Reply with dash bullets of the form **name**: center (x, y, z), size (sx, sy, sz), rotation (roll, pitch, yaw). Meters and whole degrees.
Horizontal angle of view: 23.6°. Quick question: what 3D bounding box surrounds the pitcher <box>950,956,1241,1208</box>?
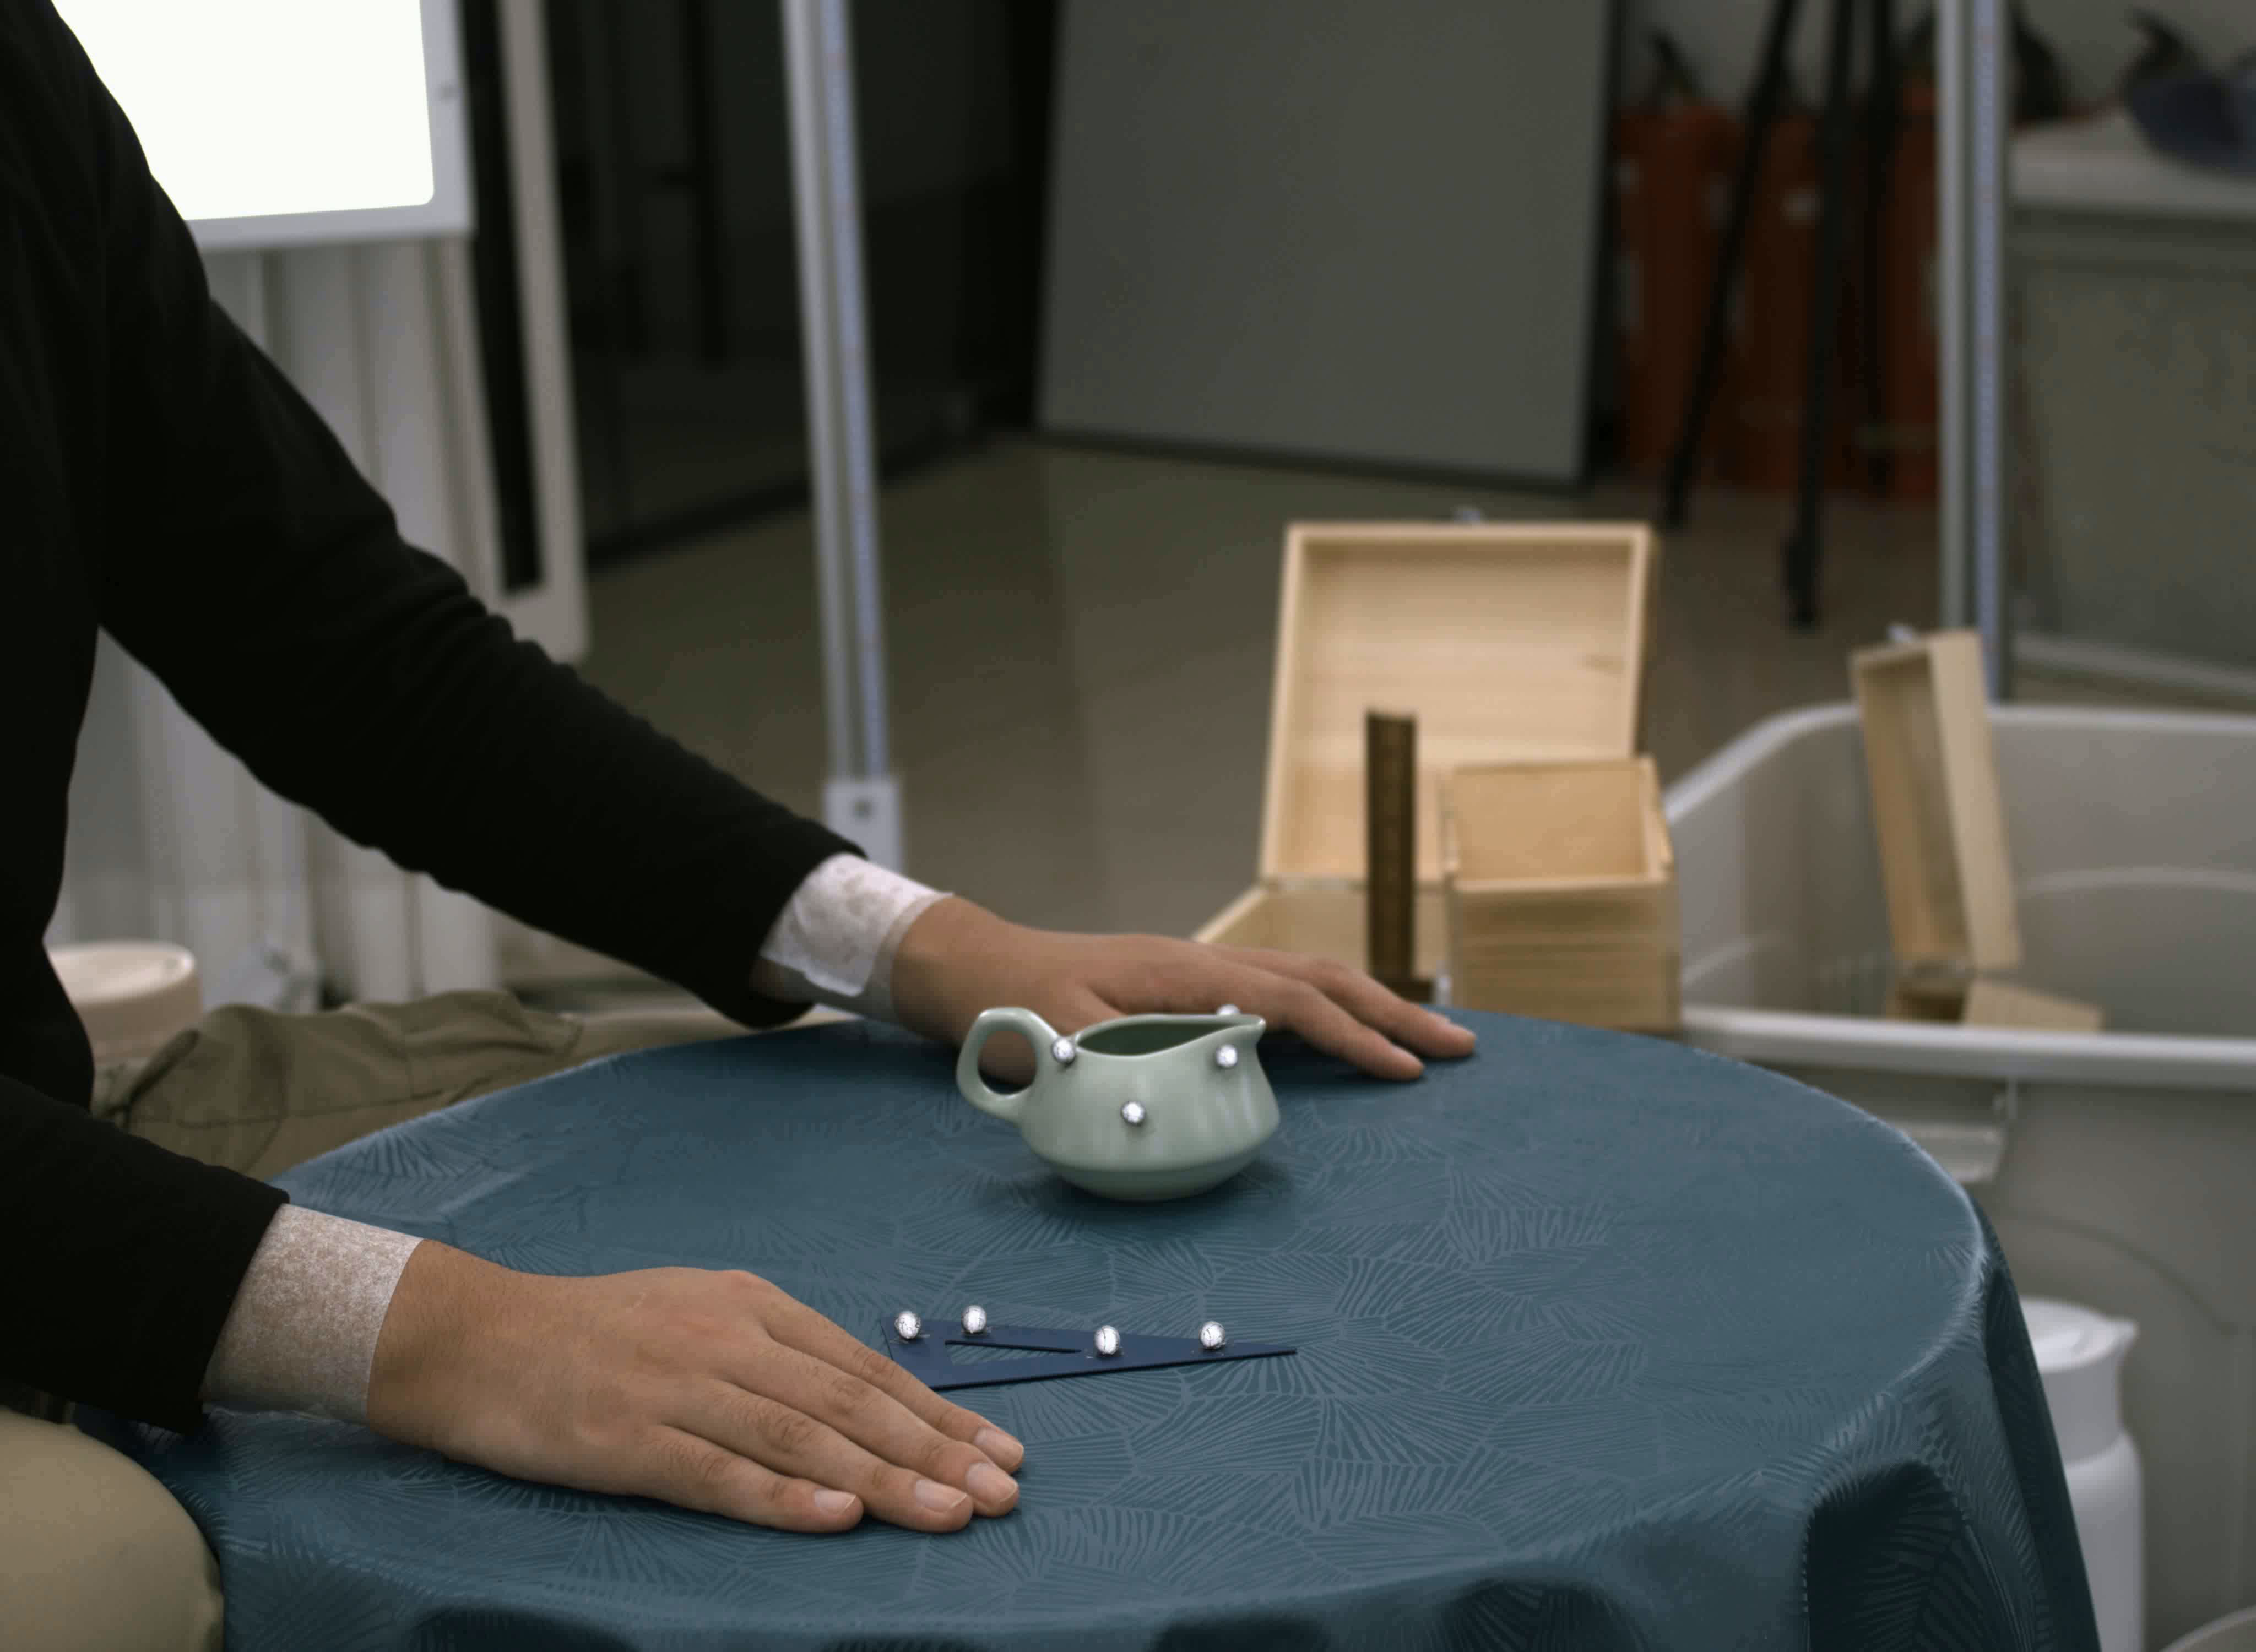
- **pitcher**: center (-0.014, 0.084, 1.781), size (0.108, 0.061, 0.085), rotation (22, 34, 23)

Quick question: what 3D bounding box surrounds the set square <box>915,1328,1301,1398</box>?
- **set square**: center (-0.016, 0.162, 1.599), size (0.132, 0.006, 0.060), rotation (3, 14, 27)
